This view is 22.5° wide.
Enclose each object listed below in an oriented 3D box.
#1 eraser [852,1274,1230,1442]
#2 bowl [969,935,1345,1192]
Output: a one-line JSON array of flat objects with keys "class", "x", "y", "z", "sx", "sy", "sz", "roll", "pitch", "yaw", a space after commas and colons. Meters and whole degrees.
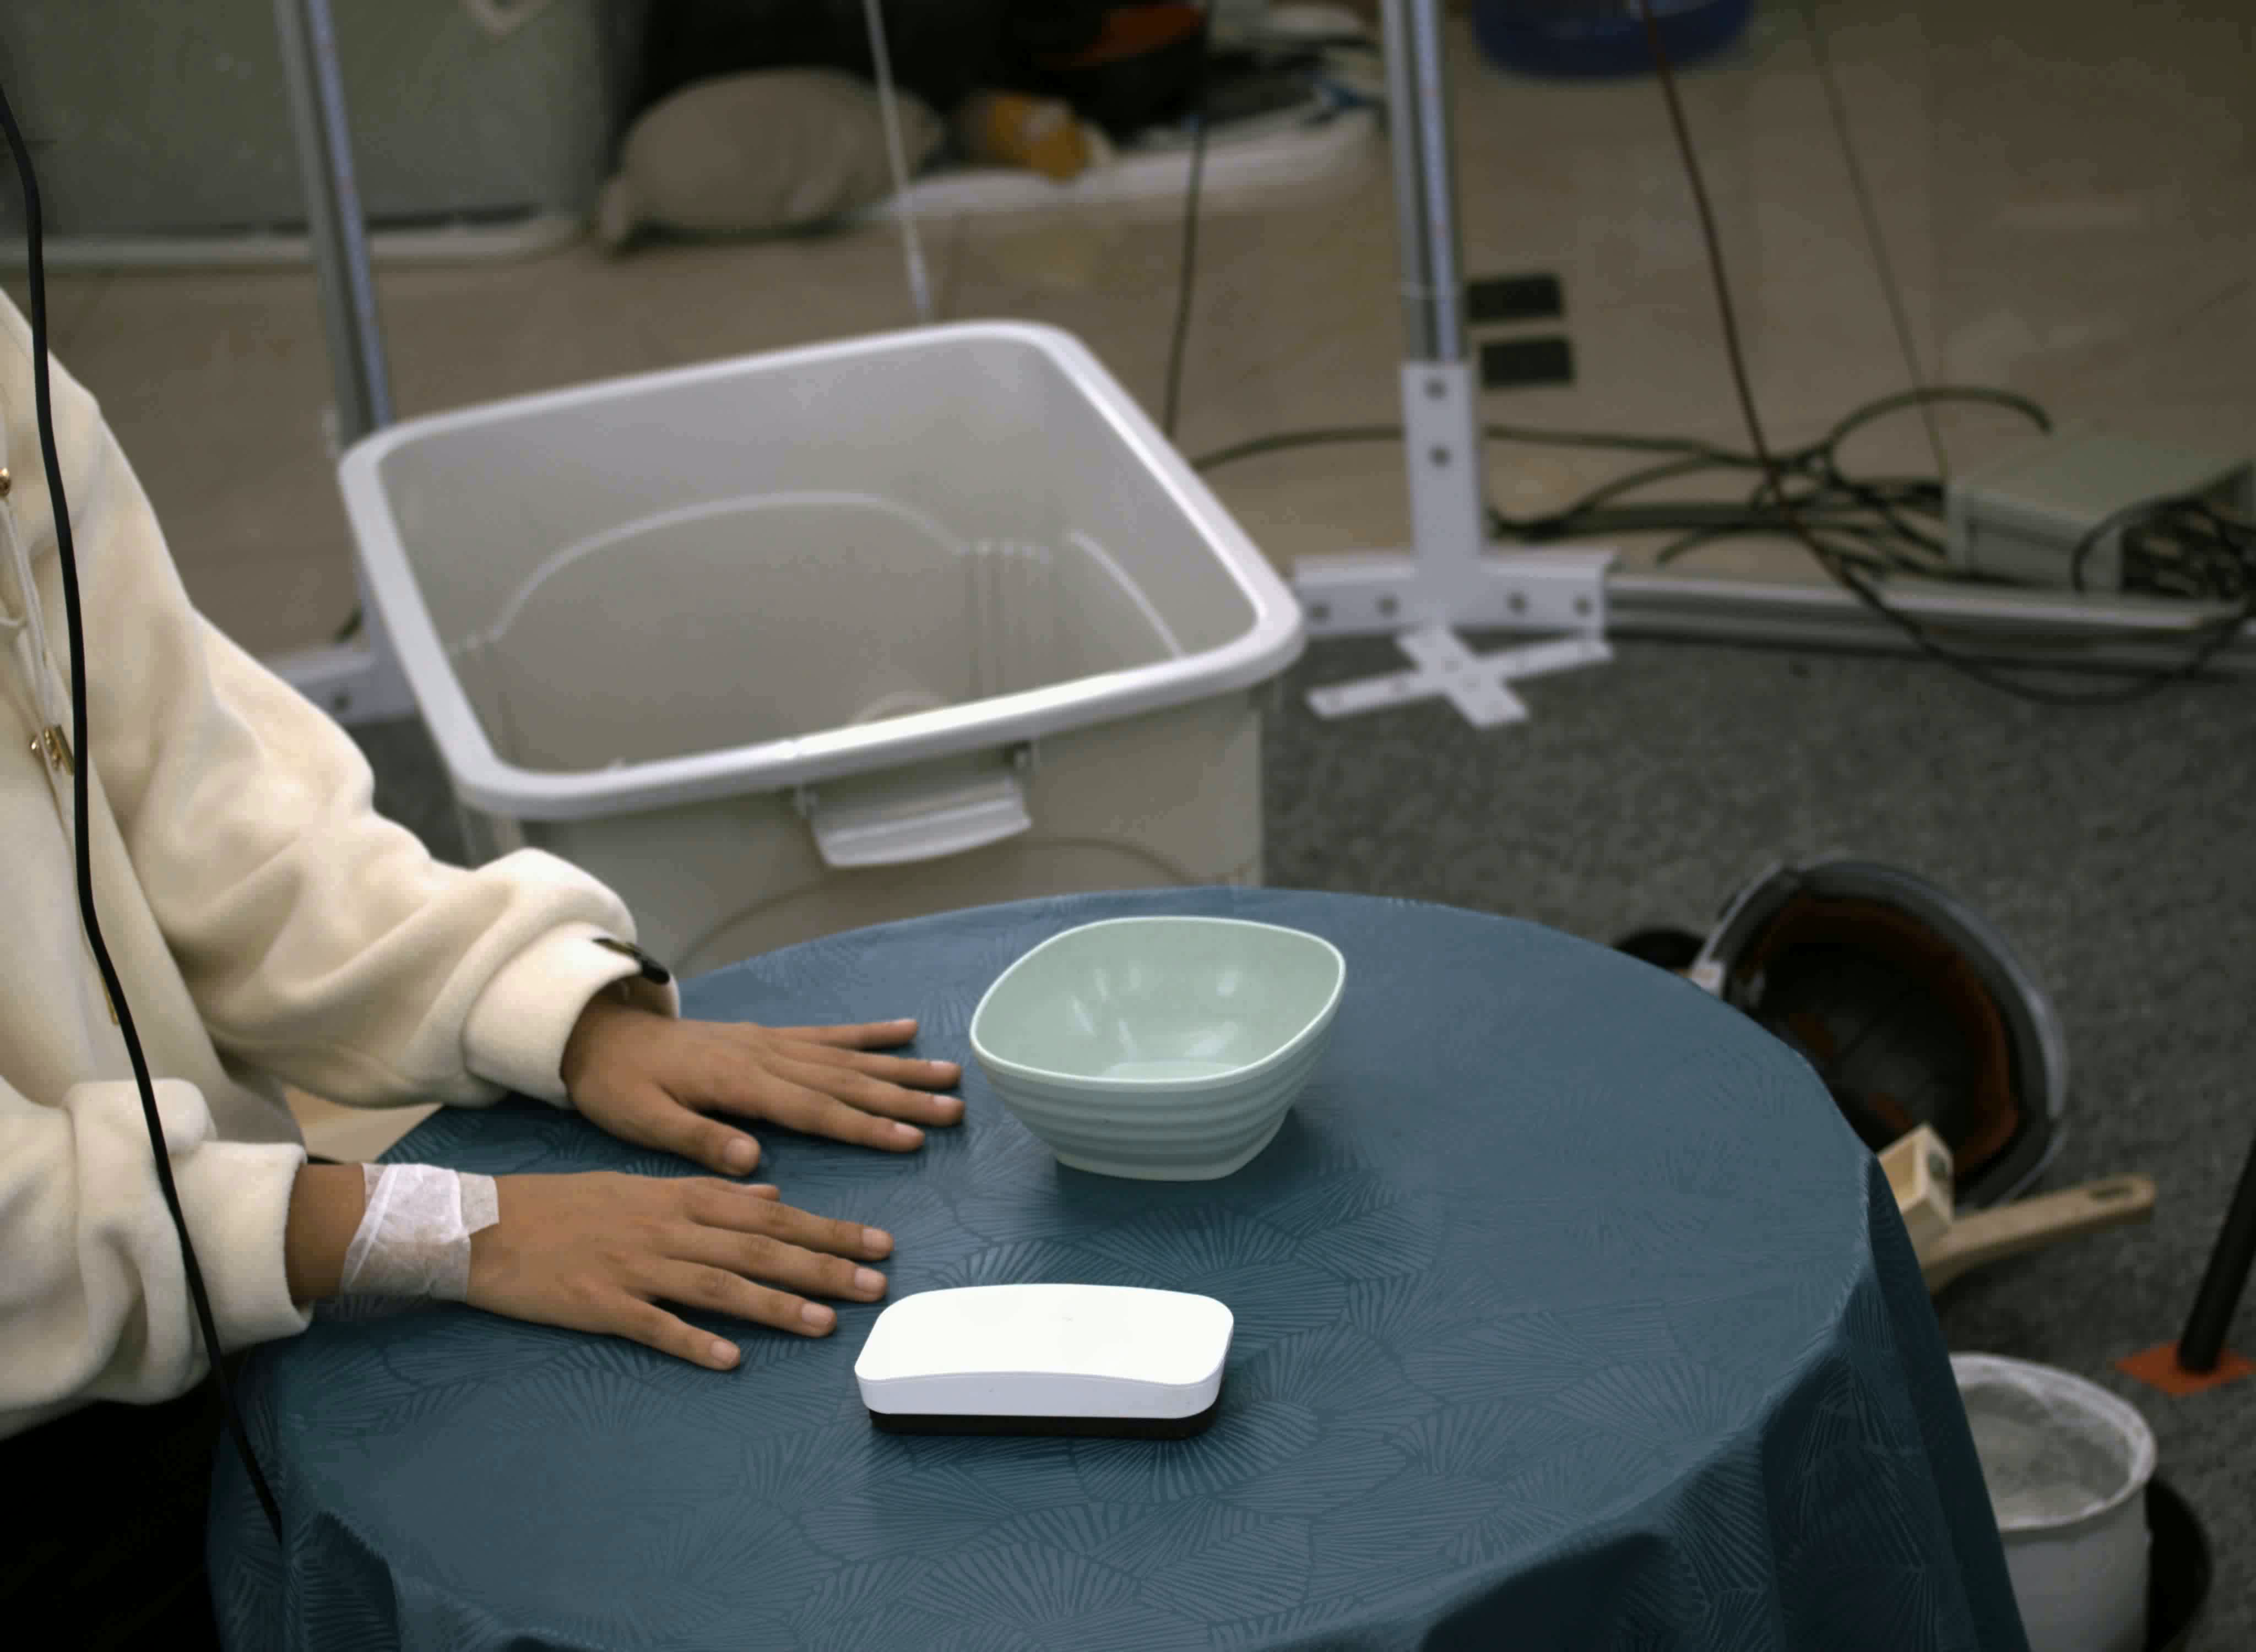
[{"class": "eraser", "x": -0.030, "y": 0.189, "z": 2.011, "sx": 0.131, "sy": 0.035, "sz": 0.062, "roll": 0, "pitch": 26, "yaw": 13}, {"class": "bowl", "x": 0.015, "y": 0.096, "z": 2.177, "sx": 0.151, "sy": 0.059, "sz": 0.149, "roll": -7, "pitch": 23, "yaw": 3}]
